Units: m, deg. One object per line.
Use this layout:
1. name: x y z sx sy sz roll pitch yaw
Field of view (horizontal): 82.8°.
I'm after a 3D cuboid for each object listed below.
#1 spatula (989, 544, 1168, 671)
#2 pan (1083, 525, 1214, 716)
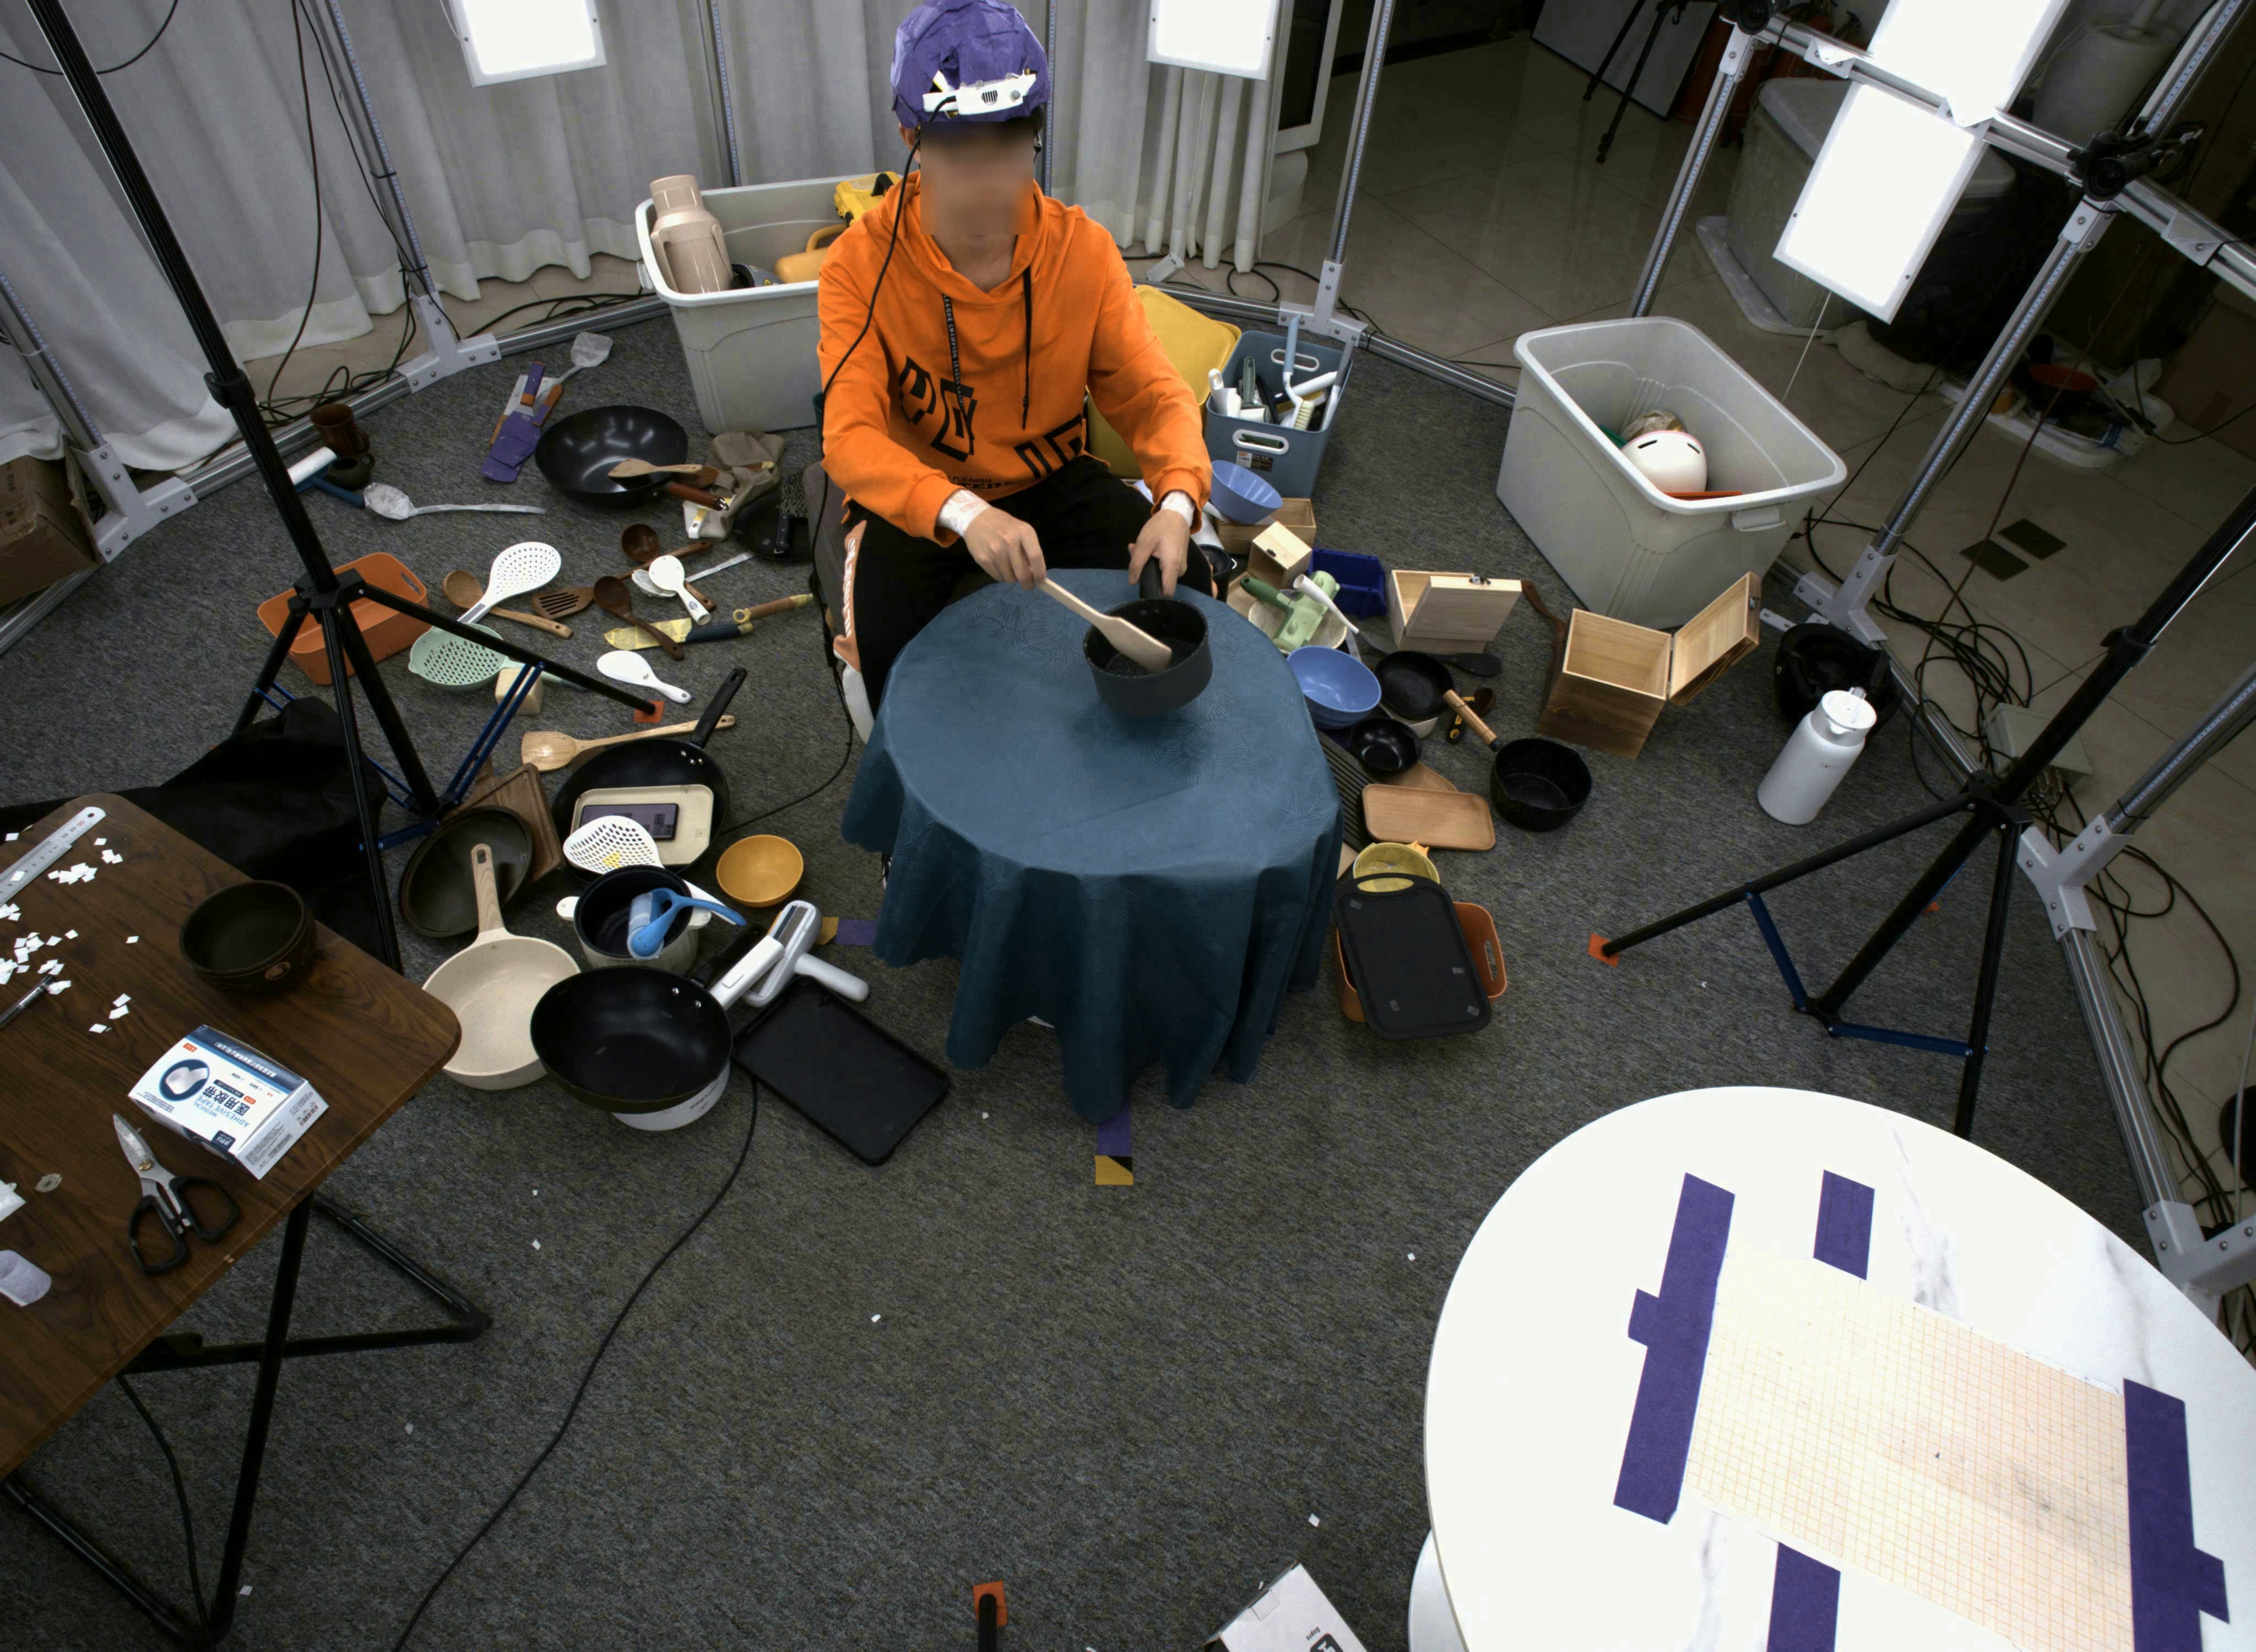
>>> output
1. spatula: -0.070 -0.299 1.733 0.295 0.071 0.011 34 68 11
2. pan: 0.037 -0.291 1.802 0.172 0.084 0.337 -3 47 11
